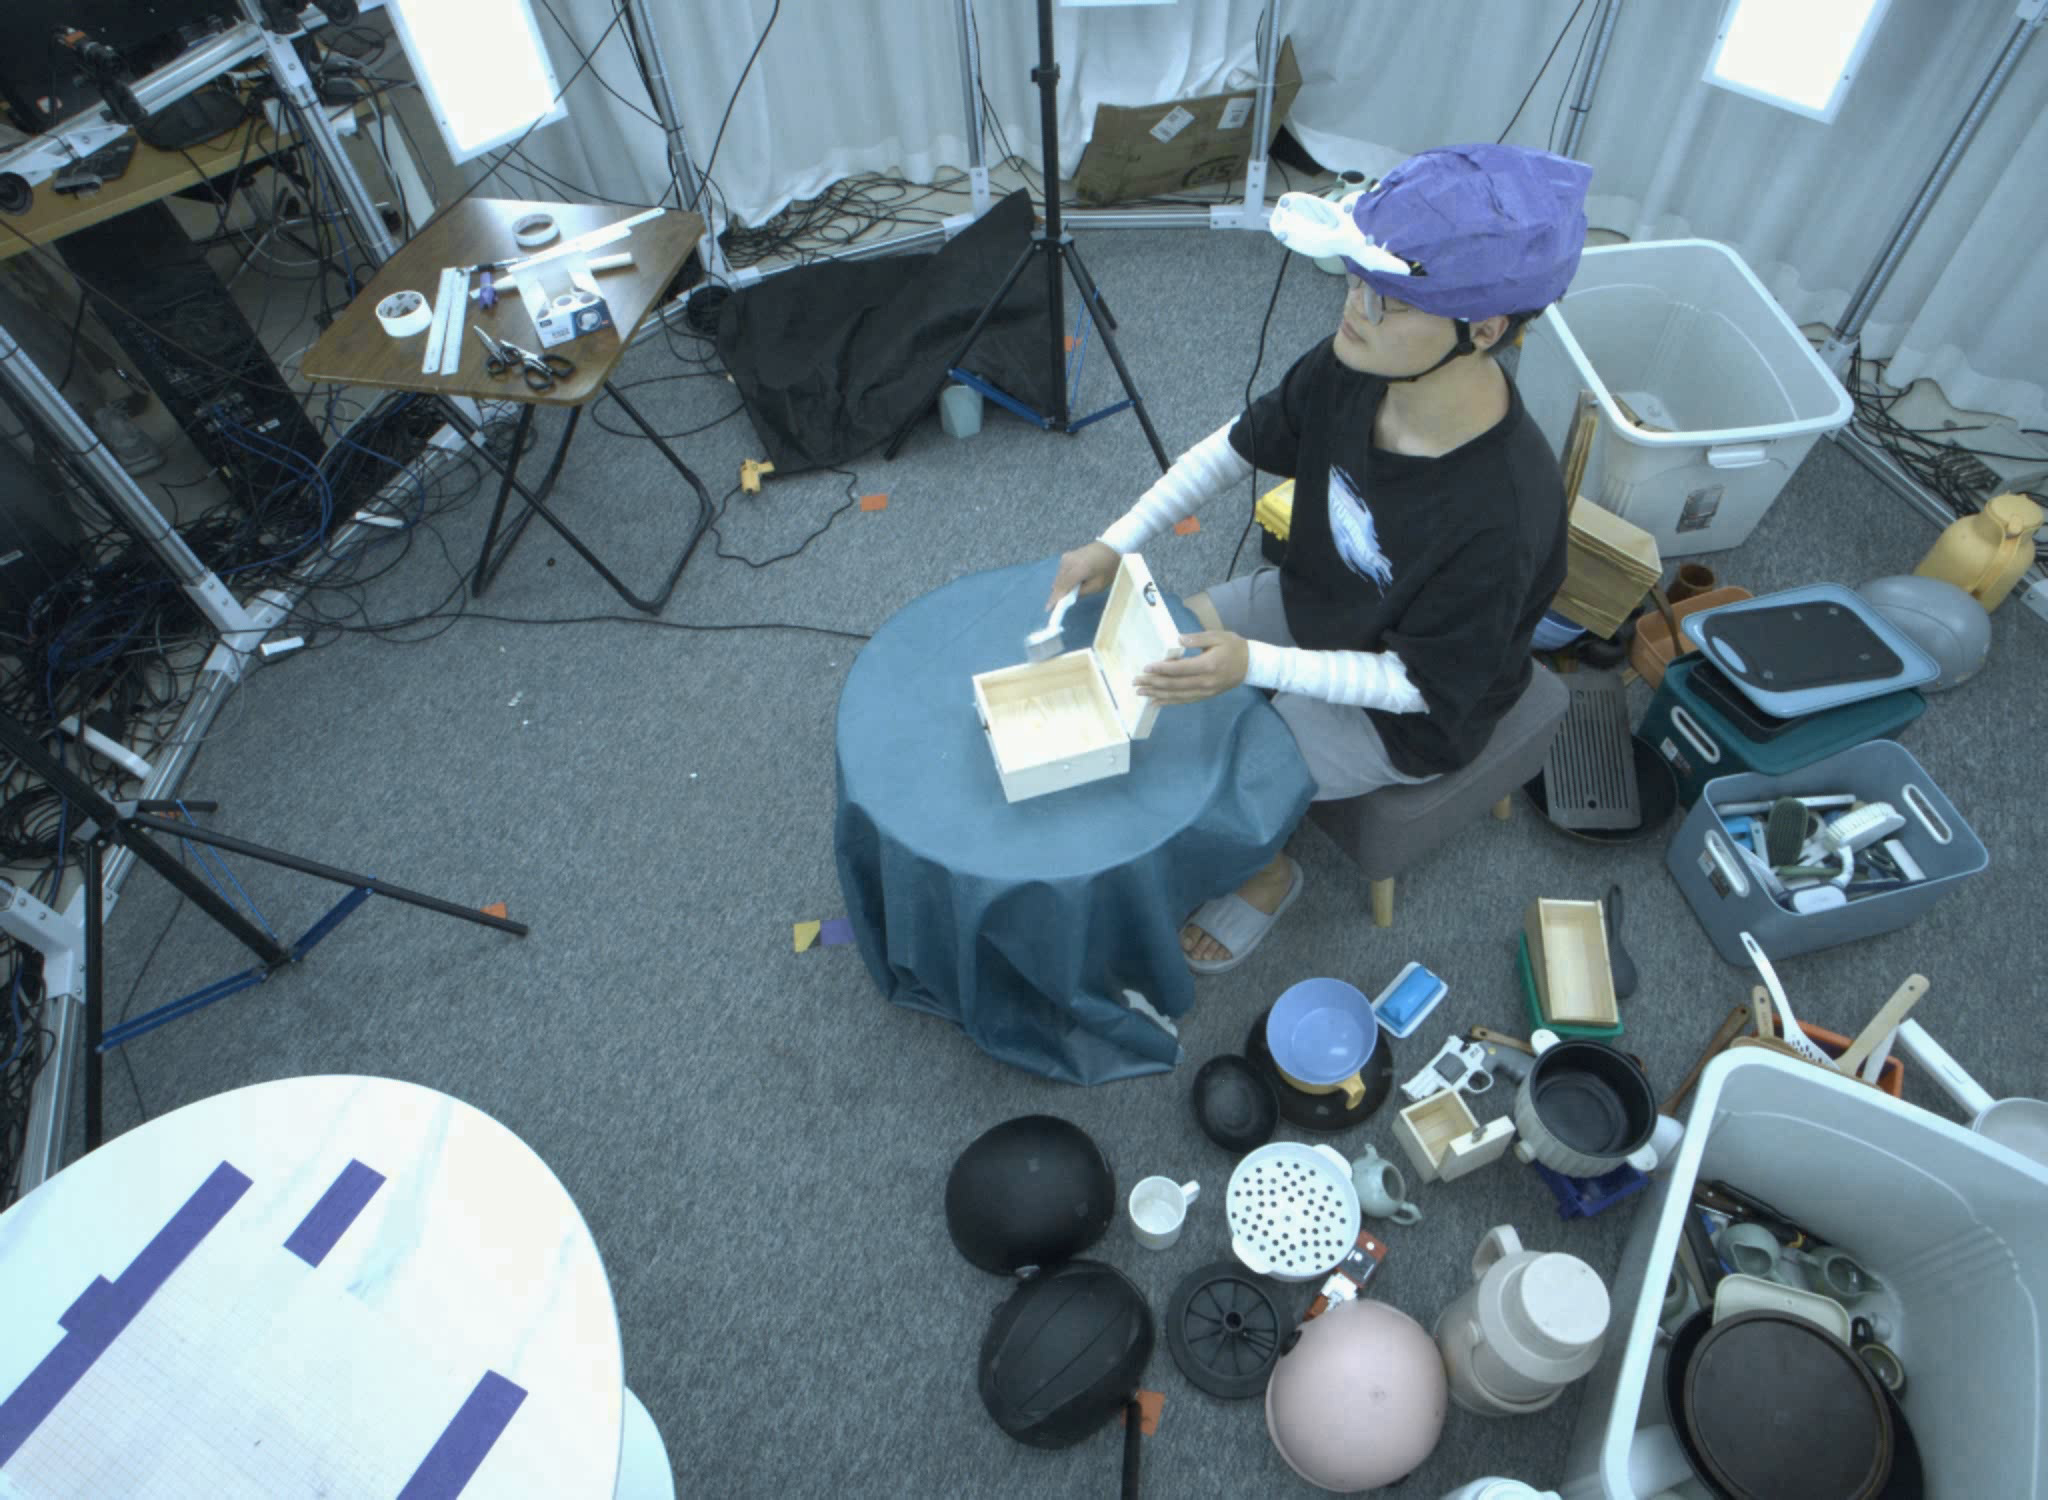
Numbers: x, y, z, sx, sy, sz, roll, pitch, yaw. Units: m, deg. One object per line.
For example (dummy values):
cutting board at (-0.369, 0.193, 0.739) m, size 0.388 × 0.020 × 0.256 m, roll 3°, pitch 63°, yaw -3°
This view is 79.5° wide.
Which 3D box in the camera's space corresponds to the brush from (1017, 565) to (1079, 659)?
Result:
brush at (0.047, -0.205, 1.833) m, size 0.034 × 0.051 × 0.244 m, roll -15°, pitch 27°, yaw 31°

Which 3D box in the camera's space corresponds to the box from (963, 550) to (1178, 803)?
box at (0.053, -0.100, 1.695) m, size 0.267 × 0.256 × 0.178 m, roll -16°, pitch 53°, yaw -8°
